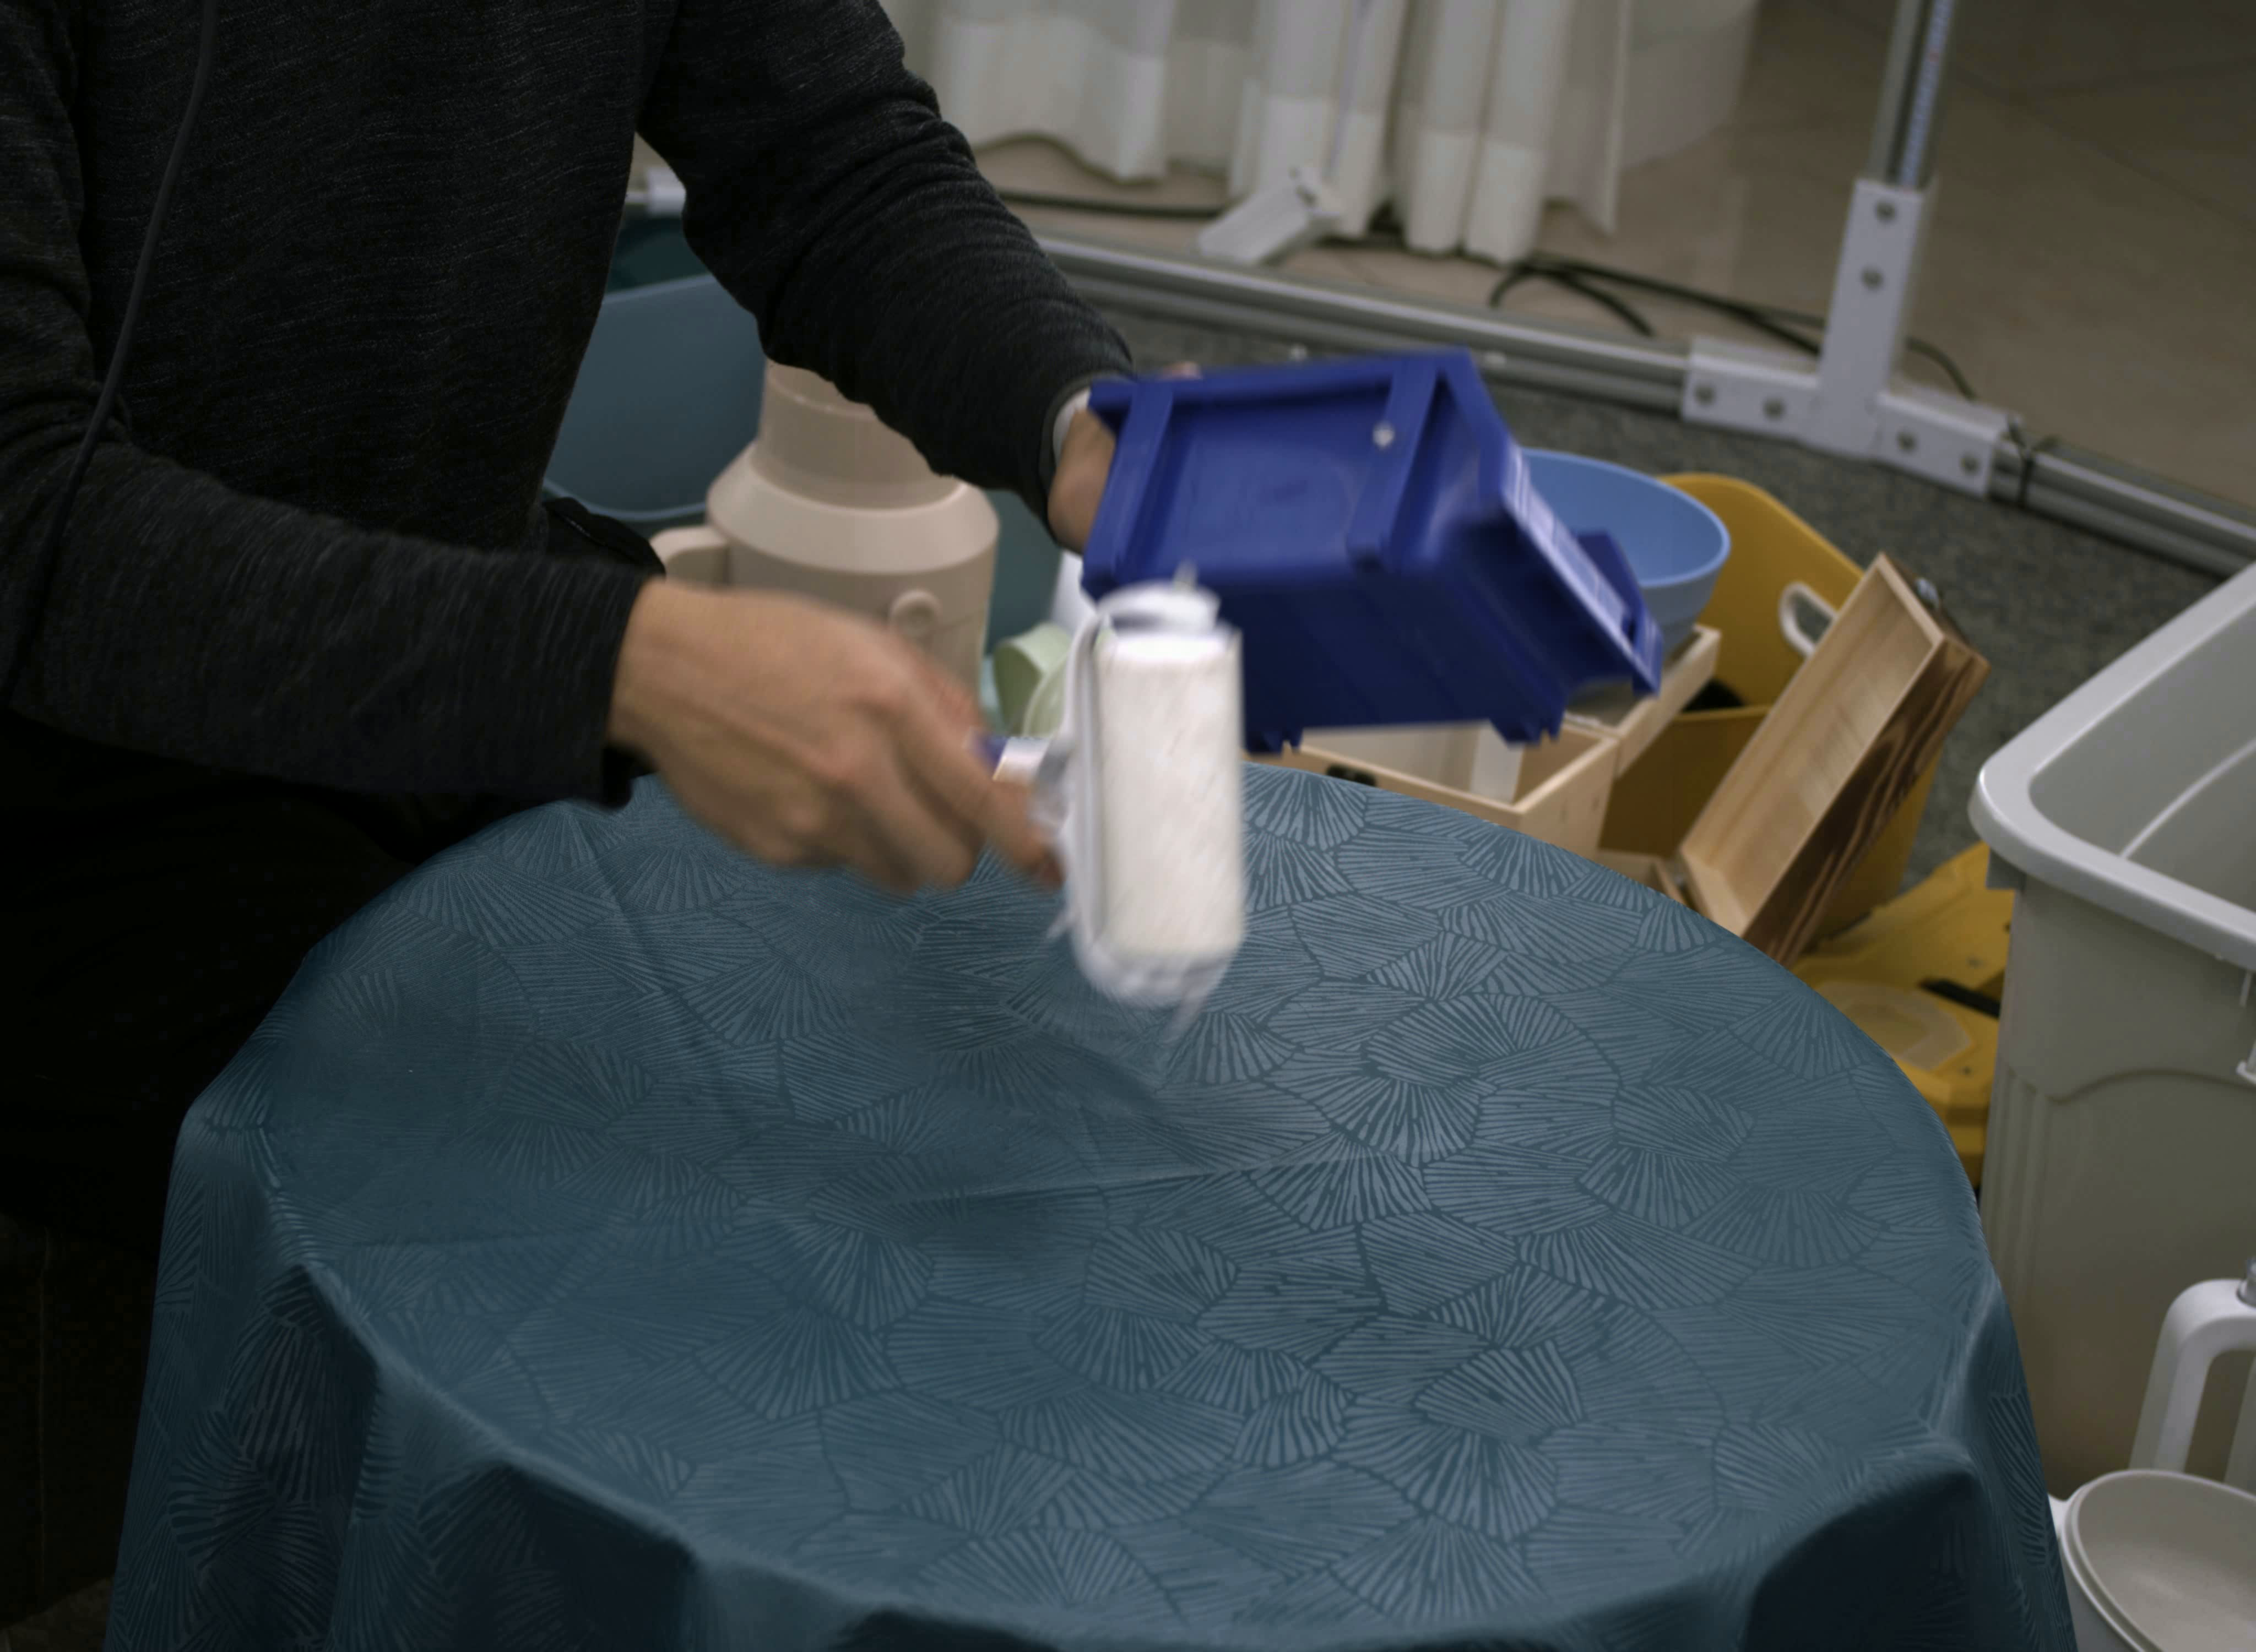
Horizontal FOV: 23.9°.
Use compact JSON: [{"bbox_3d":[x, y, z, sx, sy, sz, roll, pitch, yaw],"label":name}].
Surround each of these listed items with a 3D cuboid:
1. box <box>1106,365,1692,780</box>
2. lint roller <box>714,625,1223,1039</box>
[{"bbox_3d":[0.090,-0.083,1.801,0.180,0.123,0.082,-6,57,34],"label":"box"},{"bbox_3d":[-0.056,-0.003,1.726,0.181,0.133,0.050,5,12,16],"label":"lint roller"}]
